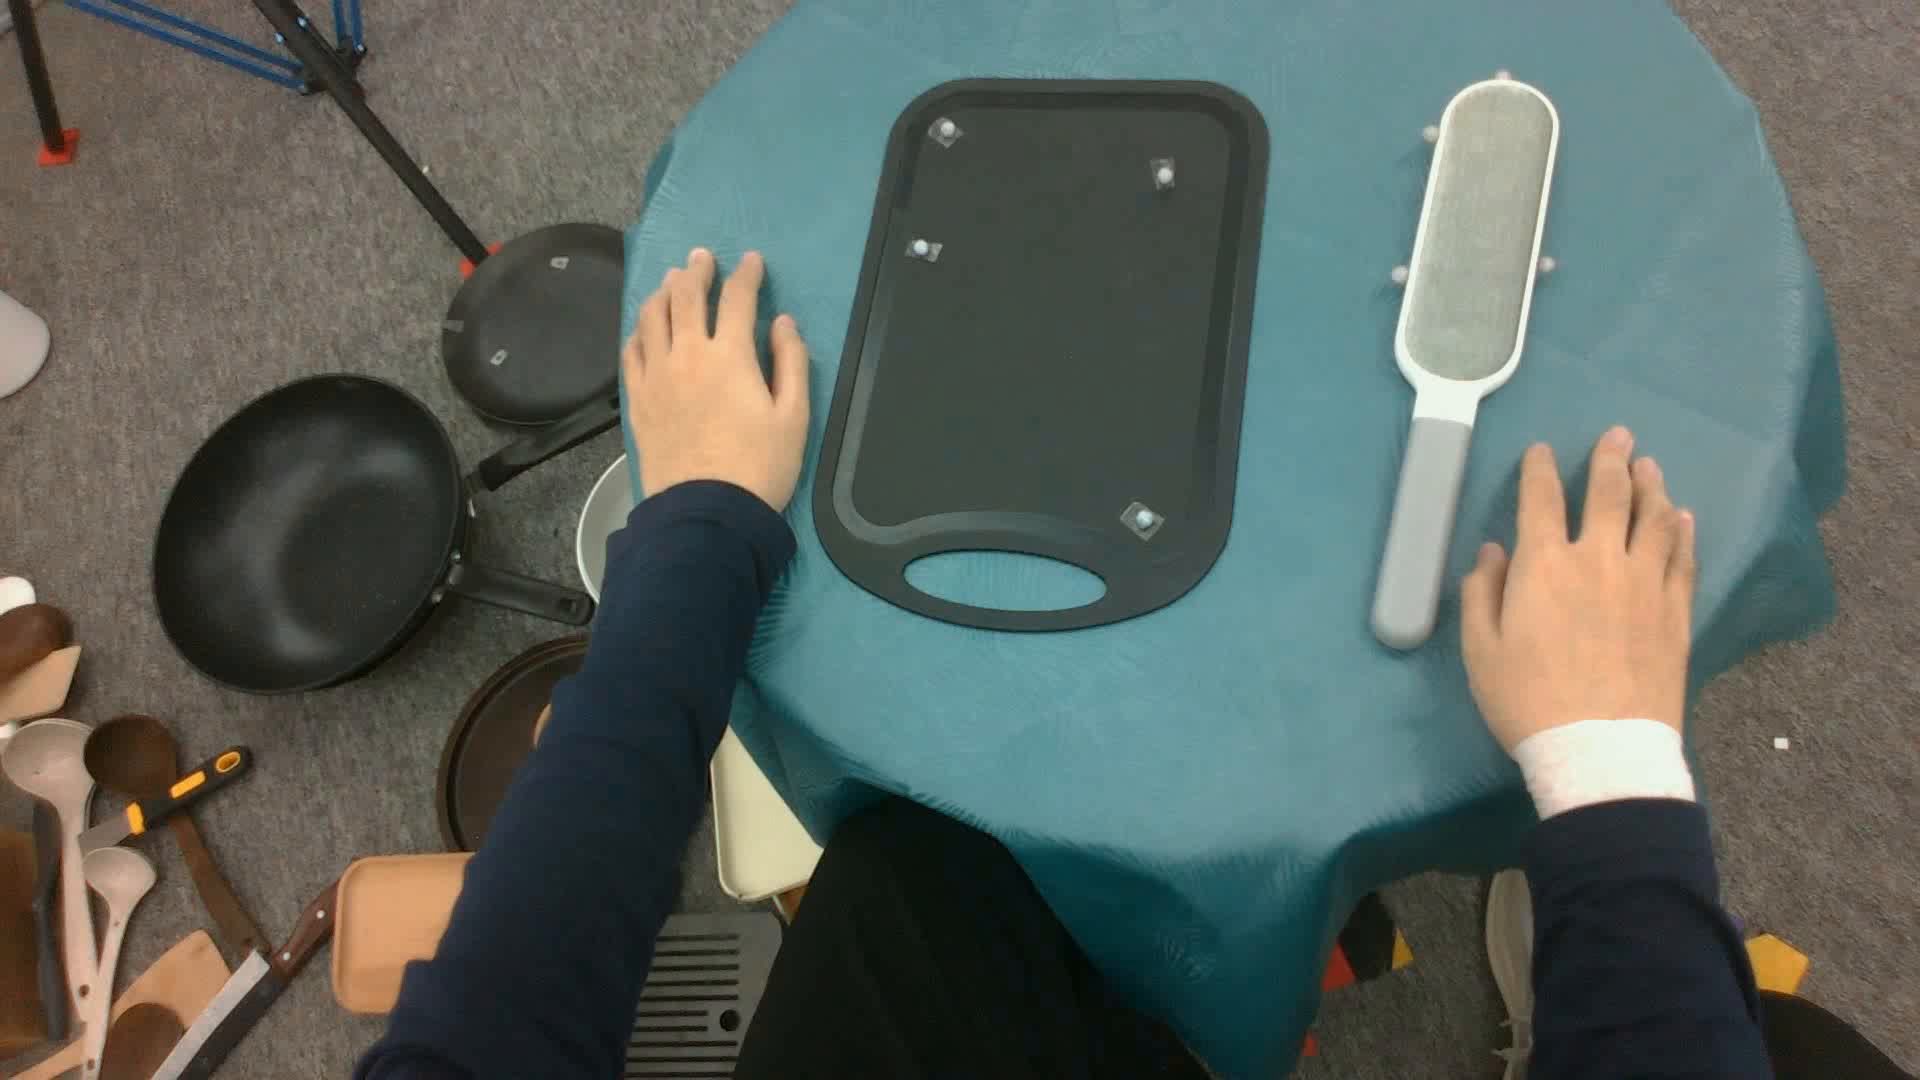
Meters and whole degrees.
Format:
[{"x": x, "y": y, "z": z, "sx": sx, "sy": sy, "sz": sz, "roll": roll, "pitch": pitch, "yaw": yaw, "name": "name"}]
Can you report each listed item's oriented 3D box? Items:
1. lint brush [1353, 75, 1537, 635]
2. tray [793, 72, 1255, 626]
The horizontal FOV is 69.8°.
[{"x": 0.227, "y": -0.099, "z": 0.660, "sx": 0.060, "sy": 0.021, "sz": 0.310, "roll": 14, "pitch": 70, "yaw": 9, "name": "lint brush"}, {"x": 0.035, "y": -0.111, "z": 0.708, "sx": 0.211, "sy": 0.010, "sz": 0.326, "roll": 6, "pitch": 68, "yaw": 12, "name": "tray"}]
